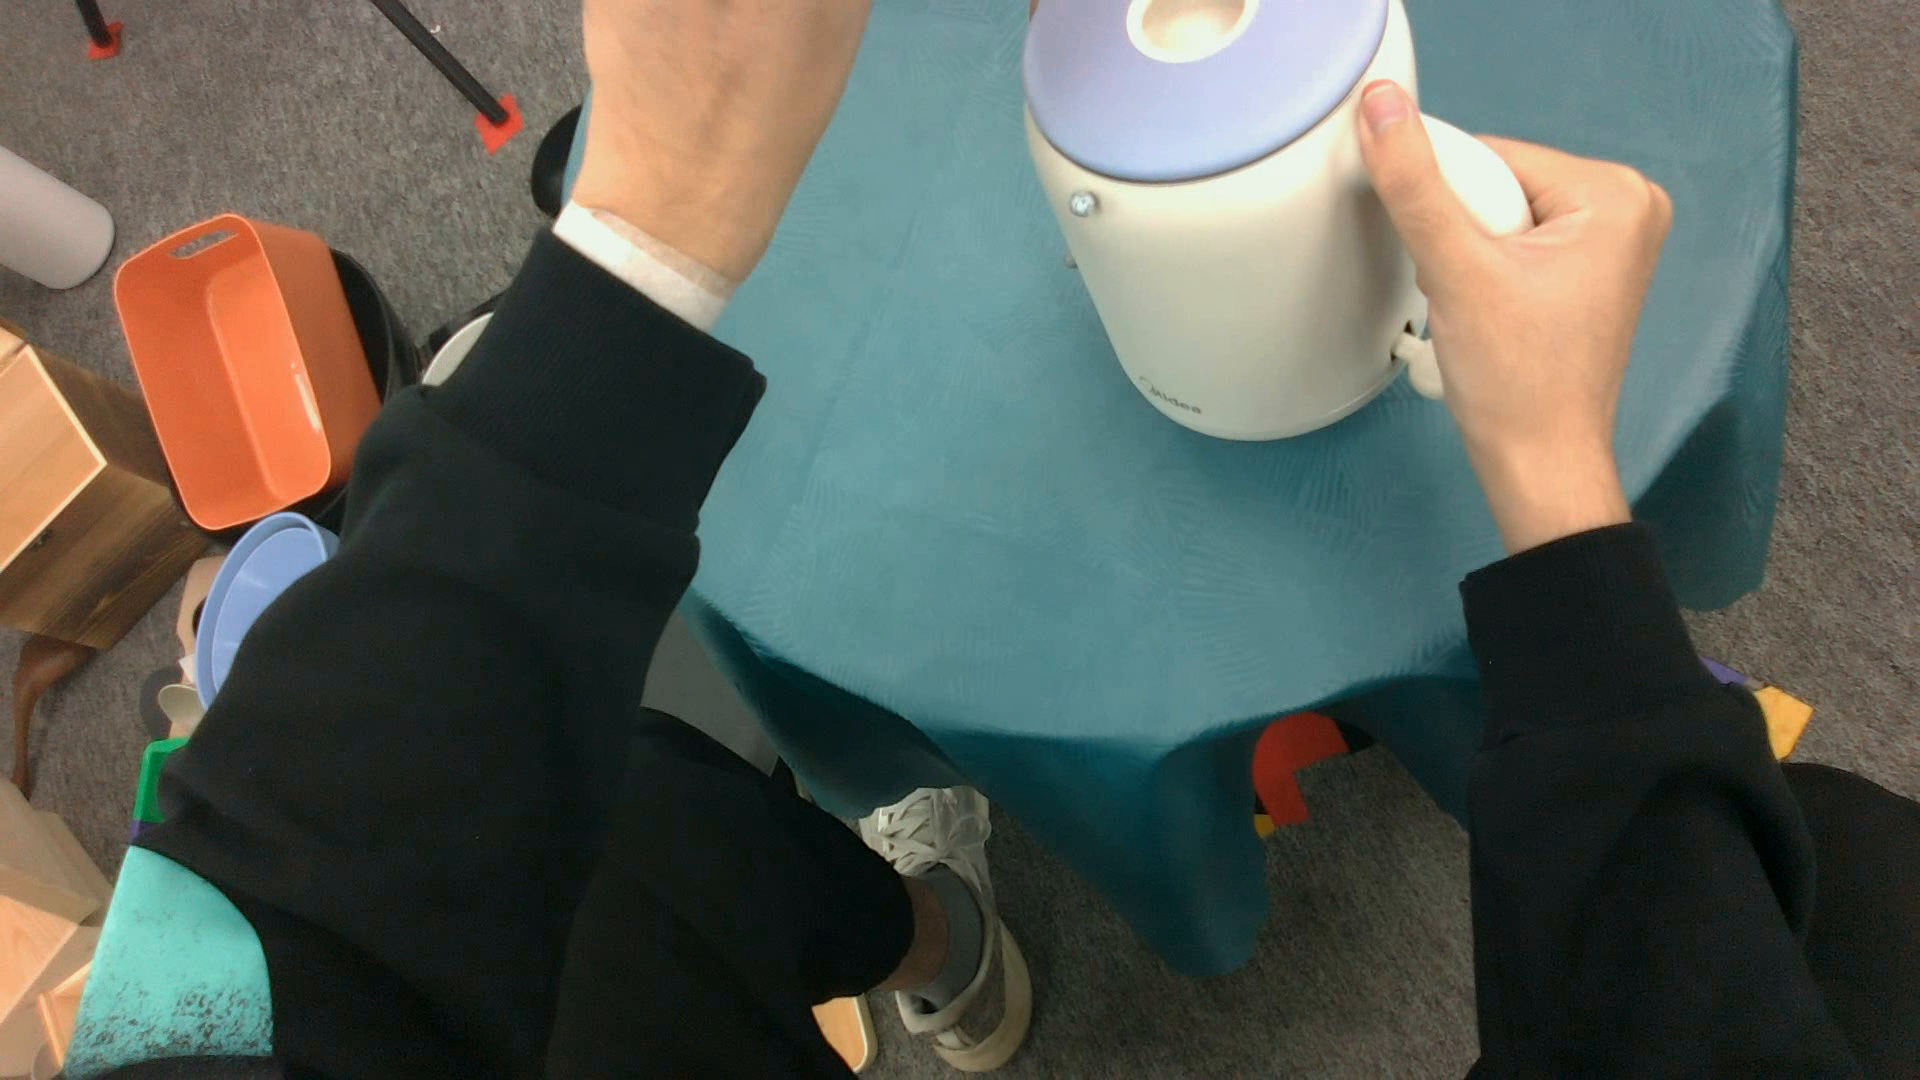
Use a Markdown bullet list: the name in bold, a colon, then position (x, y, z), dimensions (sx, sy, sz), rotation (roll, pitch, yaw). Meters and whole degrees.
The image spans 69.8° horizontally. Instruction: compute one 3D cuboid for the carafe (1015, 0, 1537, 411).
- **carafe**: position (0.120, -0.131, 0.511), dimensions (0.191, 0.182, 0.132), rotation (28, 80, 25)
